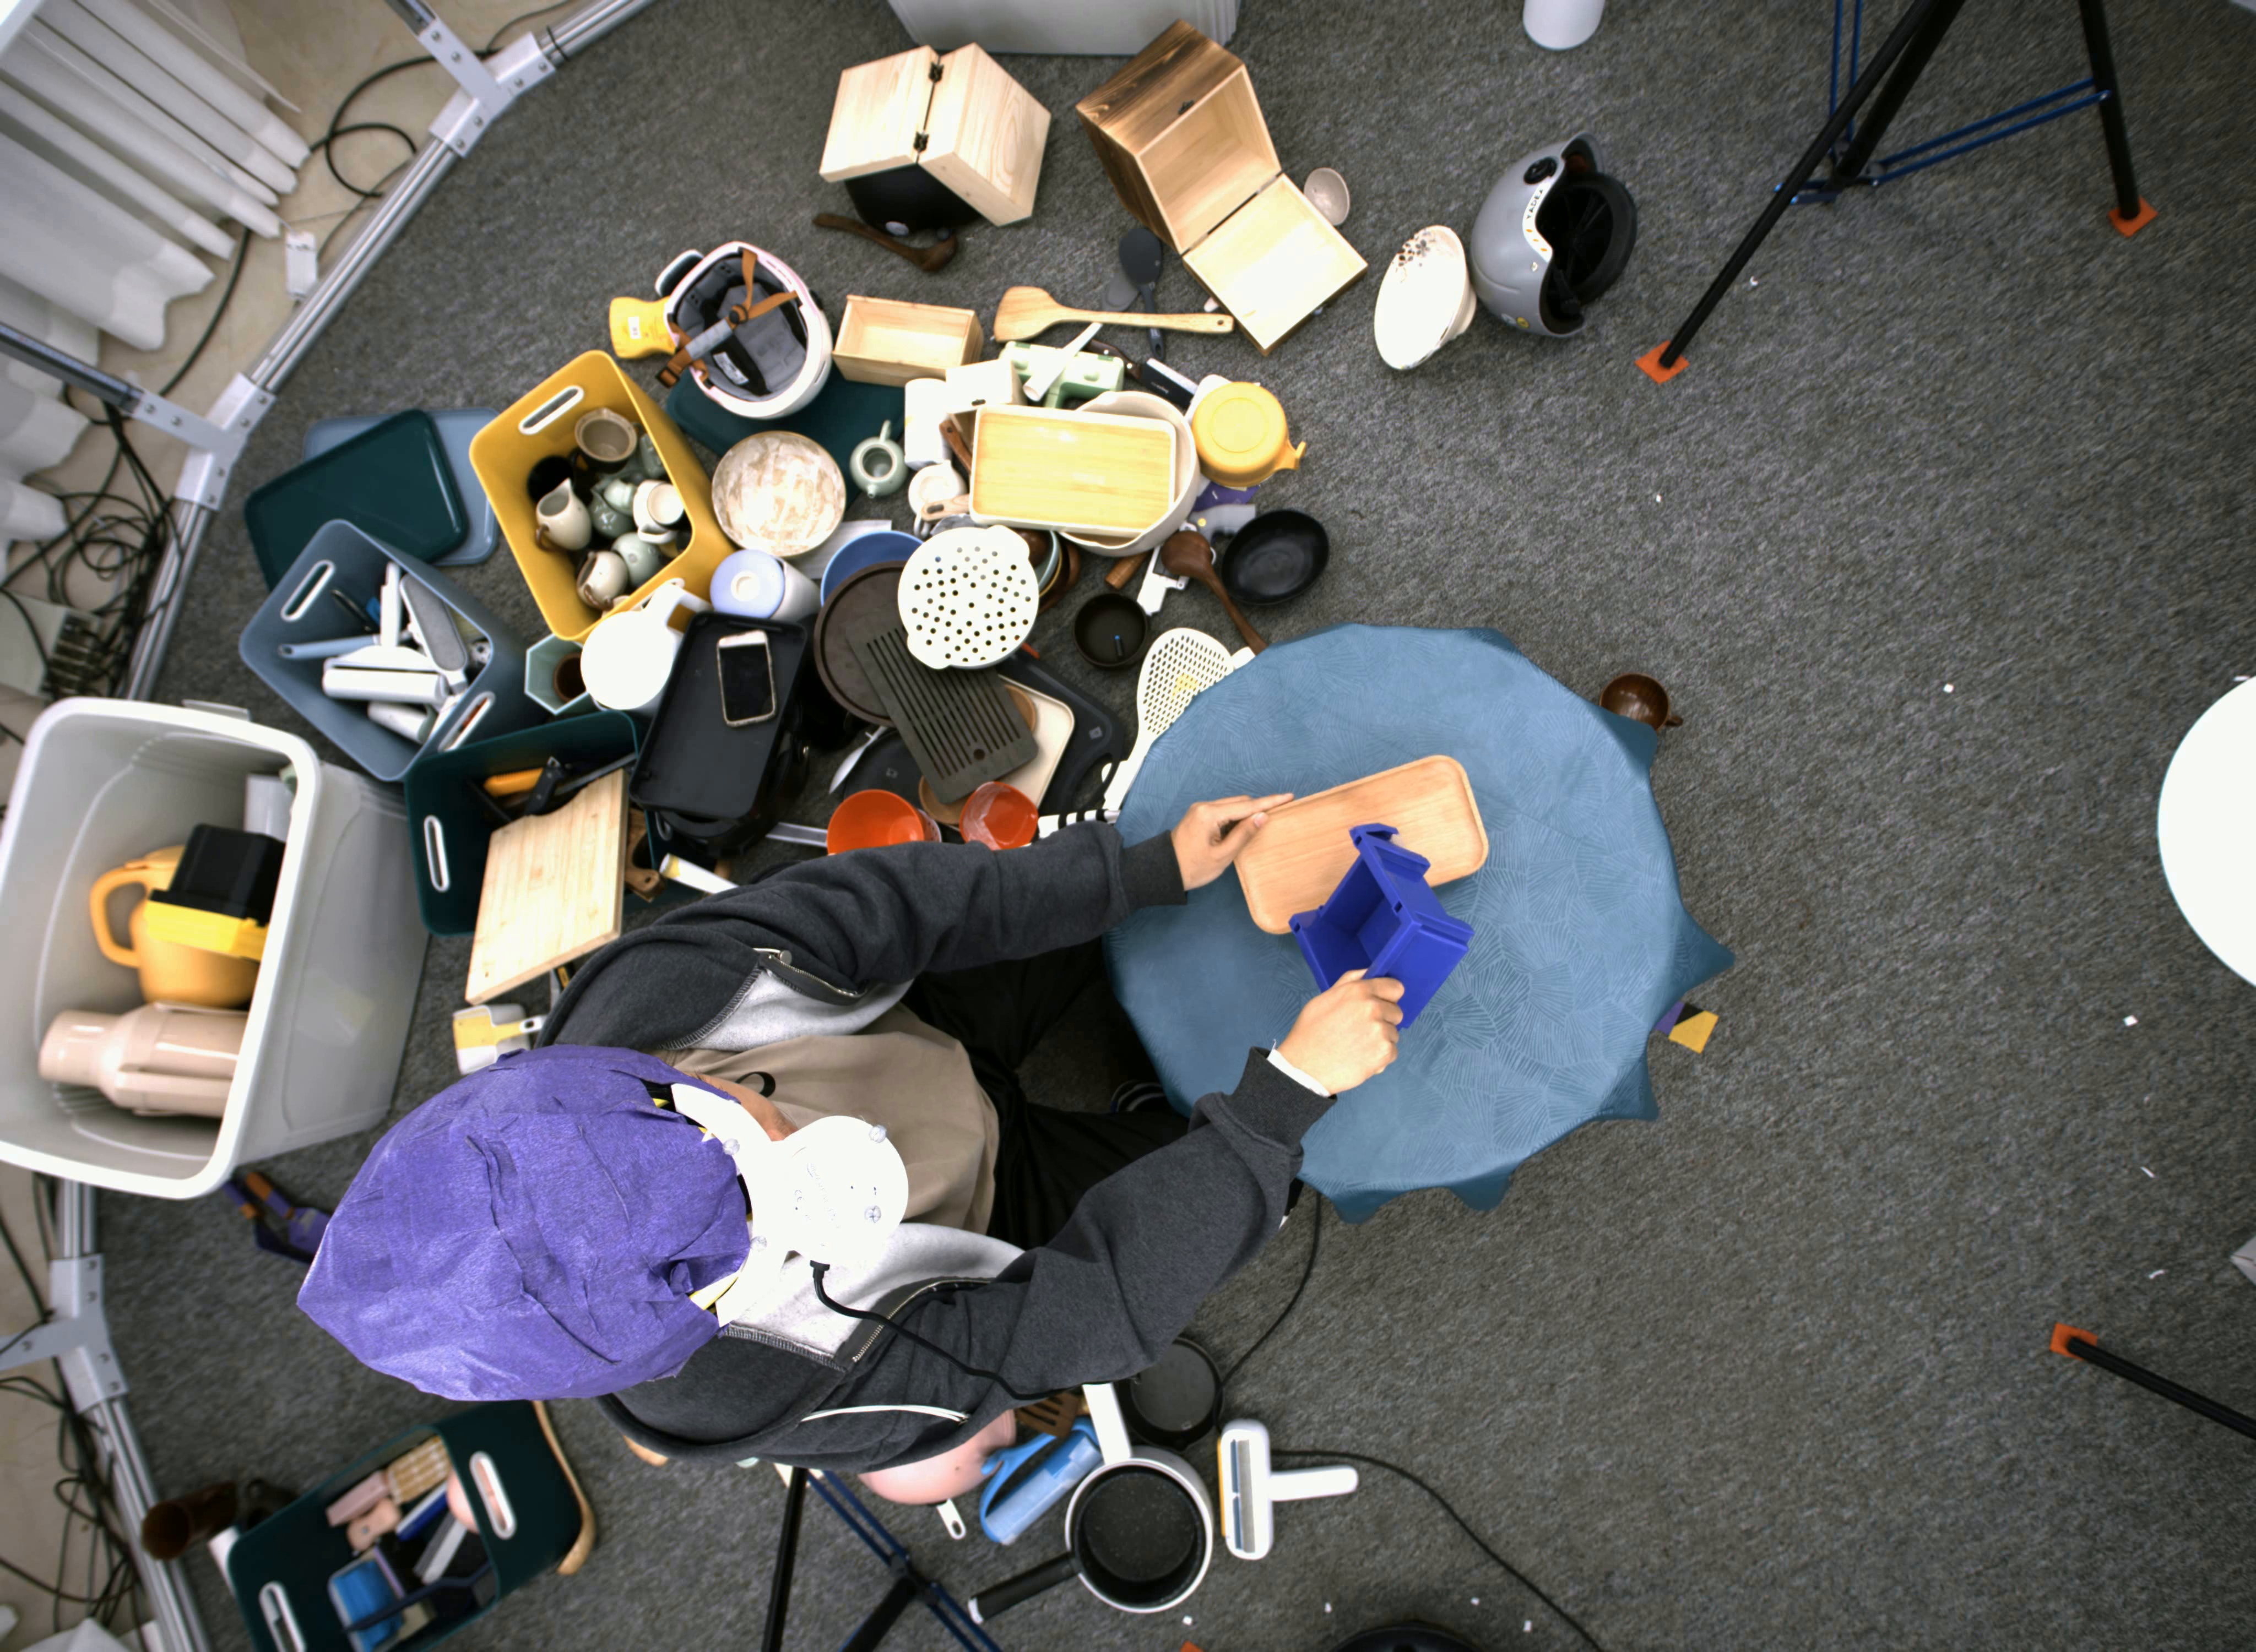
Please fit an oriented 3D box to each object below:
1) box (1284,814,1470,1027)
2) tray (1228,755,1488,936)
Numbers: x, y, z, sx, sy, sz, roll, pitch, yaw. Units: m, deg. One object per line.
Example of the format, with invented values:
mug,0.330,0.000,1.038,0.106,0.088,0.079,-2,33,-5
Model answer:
box,0.222,0.084,1.269,0.082,0.175,0.127,17,121,-28
tray,0.233,0.019,1.403,0.252,0.023,0.130,-18,93,8
